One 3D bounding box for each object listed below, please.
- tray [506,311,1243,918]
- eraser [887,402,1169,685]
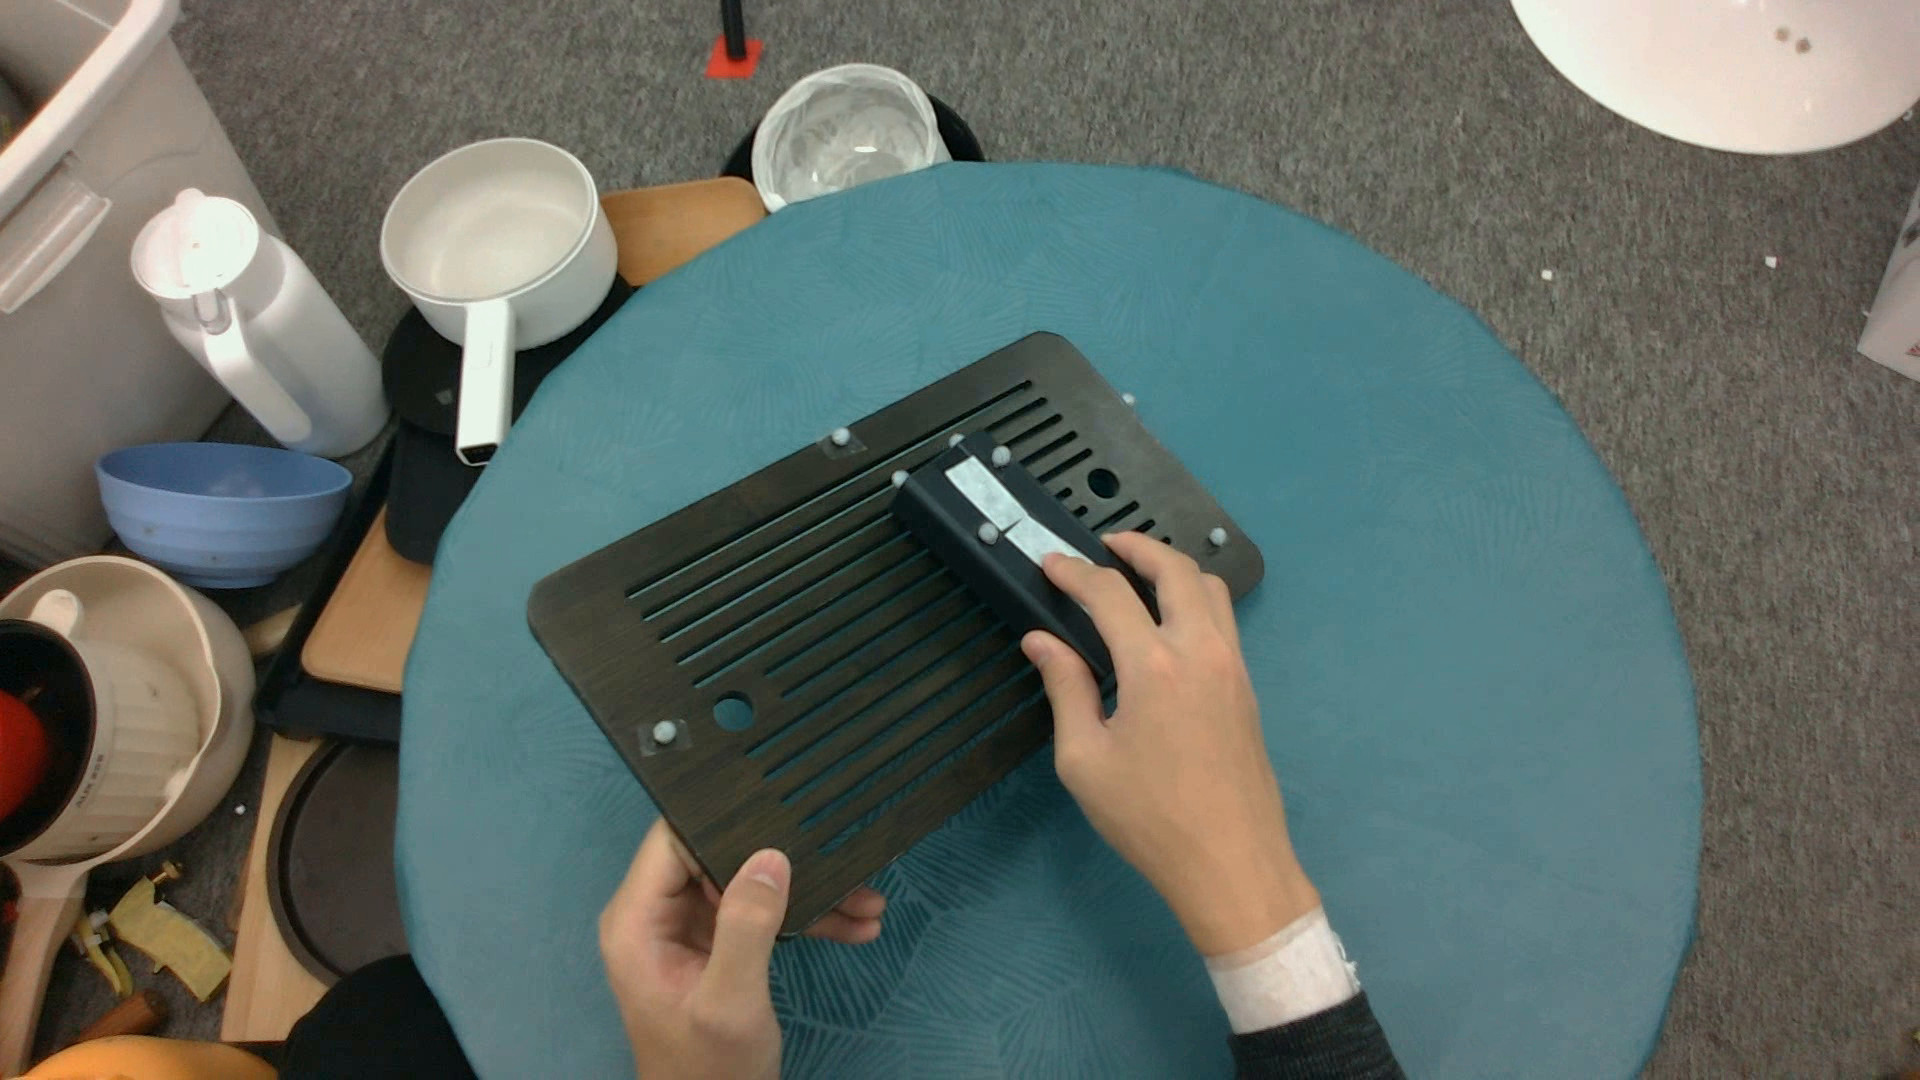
[{"bbox_3d":[-0.021,0.013,0.597,0.307,0.018,0.170,-32,74,-34],"label":"tray"},{"bbox_3d":[0.028,0.001,0.595,0.054,0.030,0.125,-38,77,-28],"label":"eraser"}]
